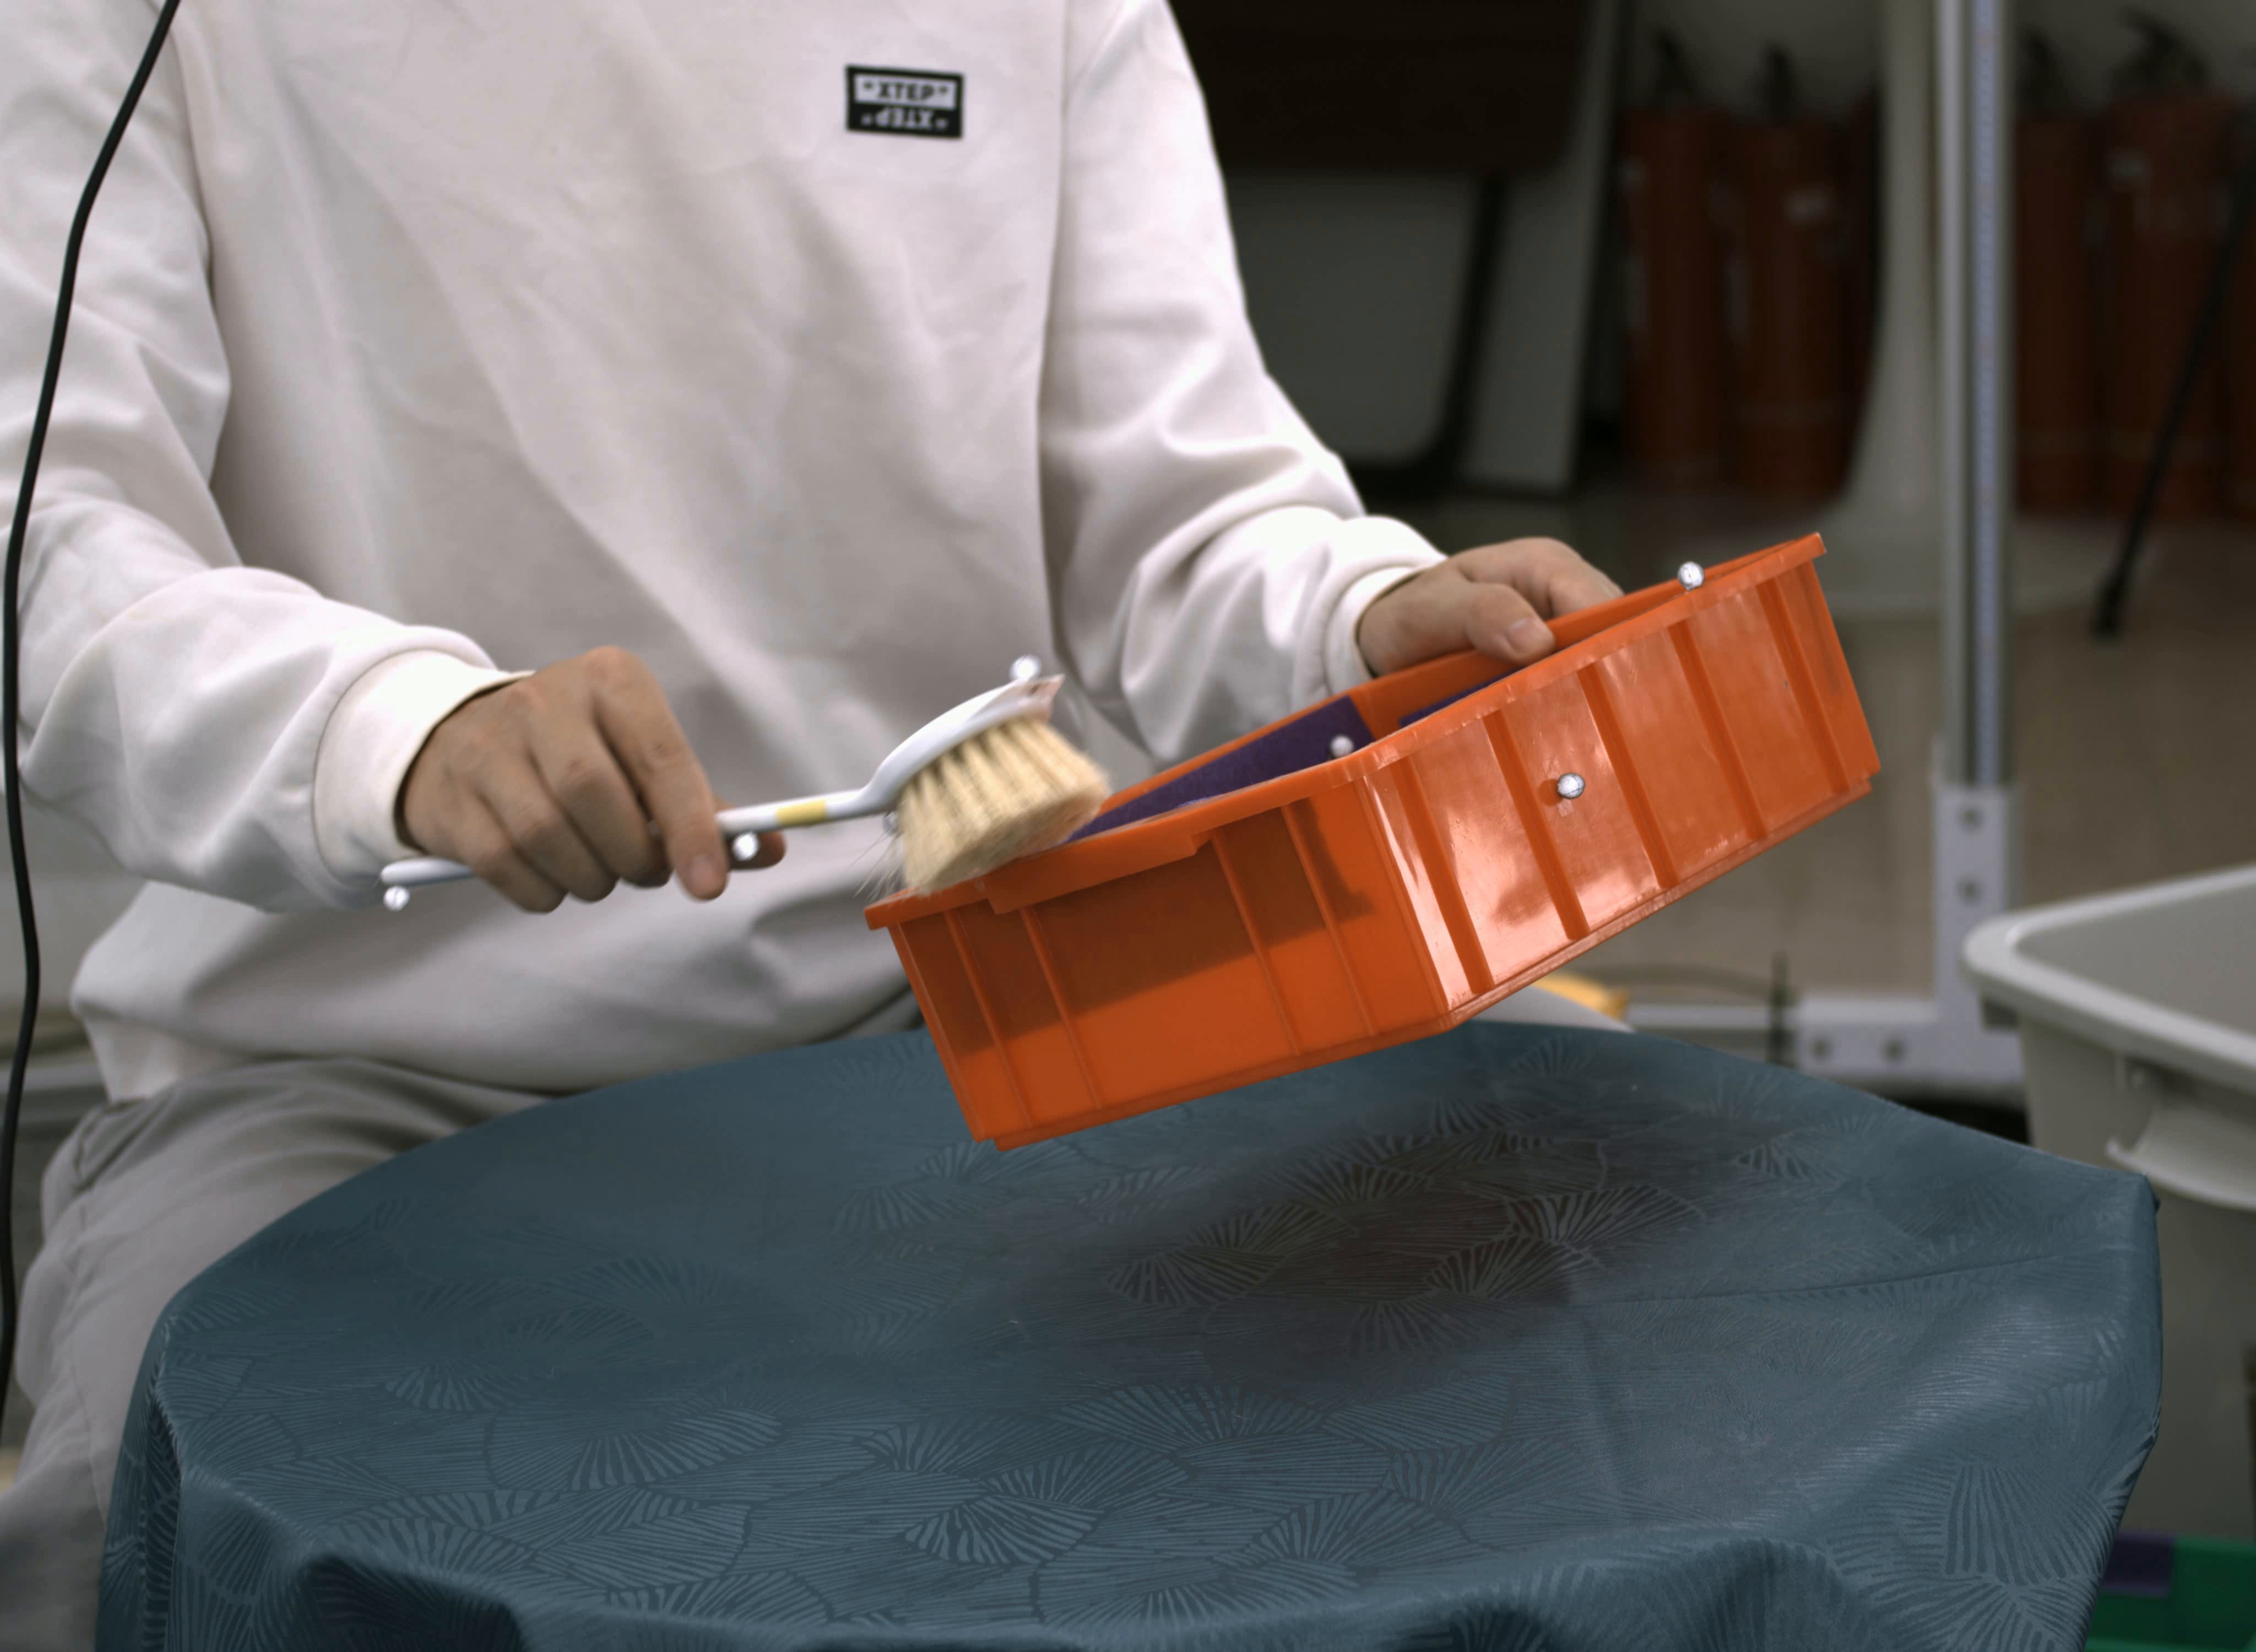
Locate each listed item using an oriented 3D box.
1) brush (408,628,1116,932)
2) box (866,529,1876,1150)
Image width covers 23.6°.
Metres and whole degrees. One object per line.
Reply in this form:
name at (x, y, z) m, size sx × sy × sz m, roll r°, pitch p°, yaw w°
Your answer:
brush at (-0.117, 0.010, 1.677) m, size 0.268 × 0.057 × 0.067 m, roll -22°, pitch -21°, yaw 31°
box at (0.086, 0.006, 1.715) m, size 0.208 × 0.097 × 0.298 m, roll -20°, pitch 1°, yaw 40°
